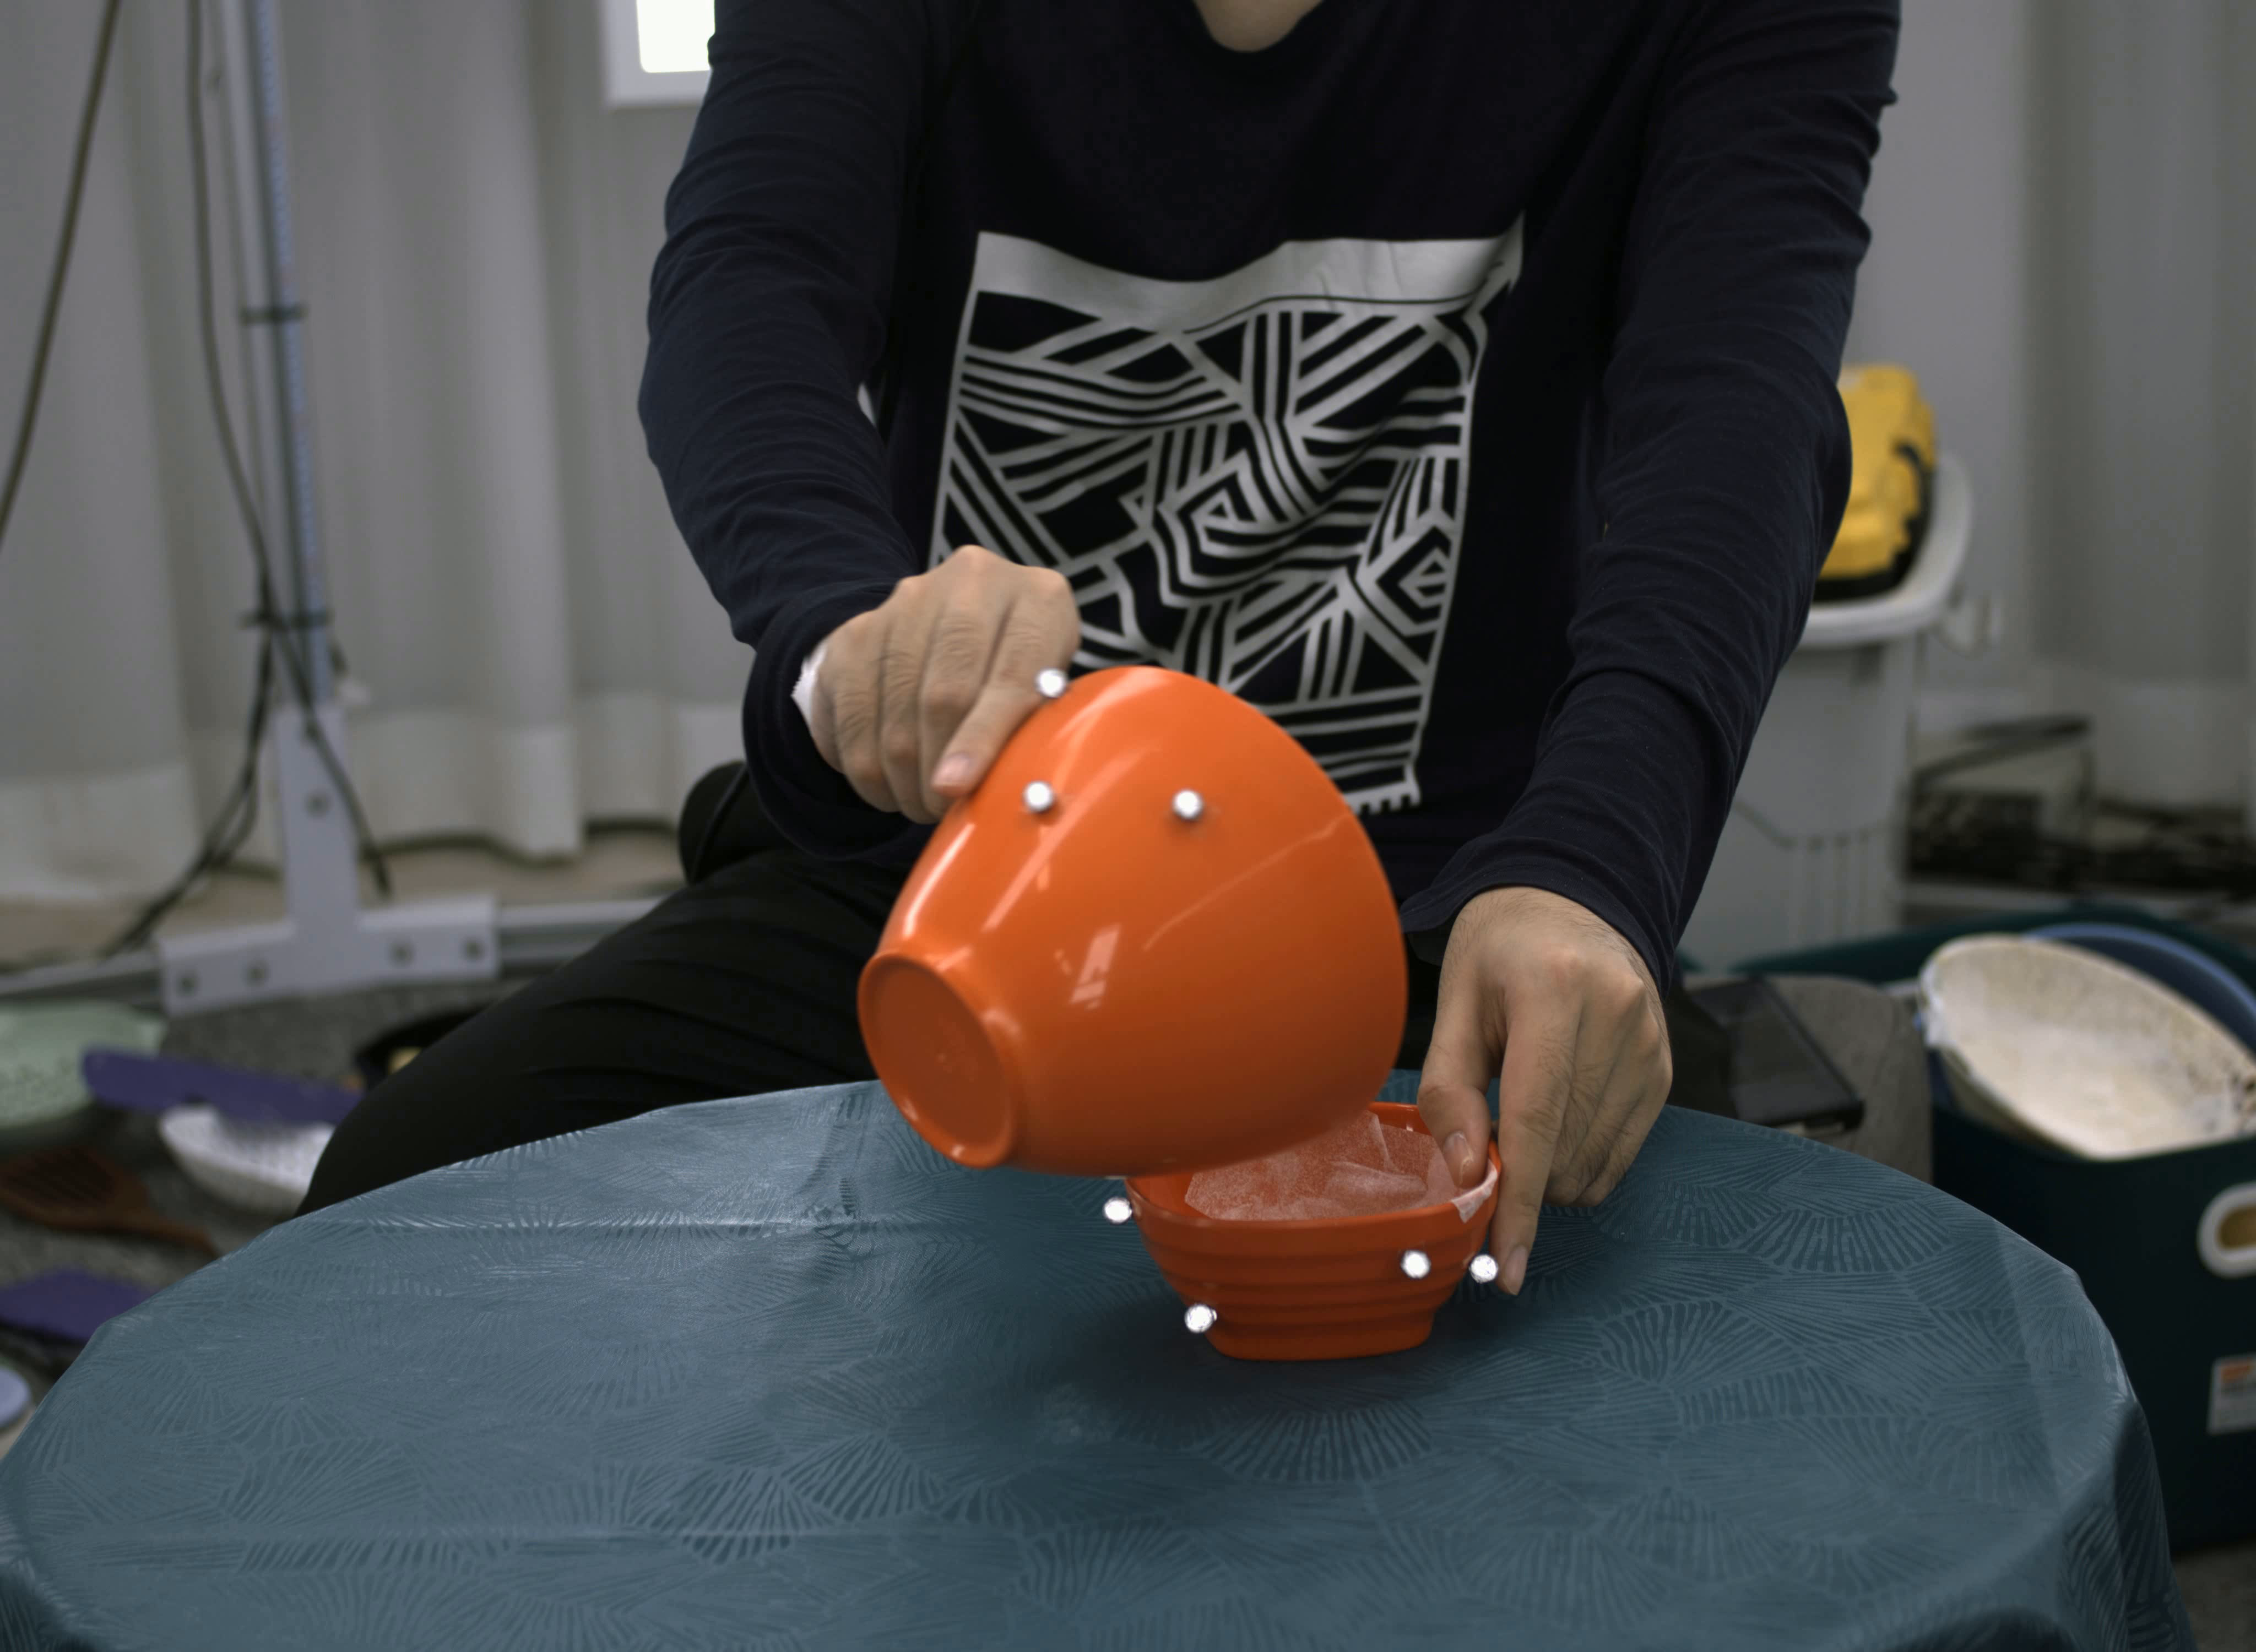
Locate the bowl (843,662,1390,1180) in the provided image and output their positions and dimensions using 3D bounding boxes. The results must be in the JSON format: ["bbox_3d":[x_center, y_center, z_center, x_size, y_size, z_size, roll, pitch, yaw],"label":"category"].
[{"bbox_3d":[-0.014,0.040,1.513,0.105,0.147,0.149,-29,27,-33],"label":"bowl"}]

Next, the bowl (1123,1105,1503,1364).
[{"bbox_3d":[0.055,0.121,1.589,0.118,0.051,0.119,-4,14,1],"label":"bowl"}]
